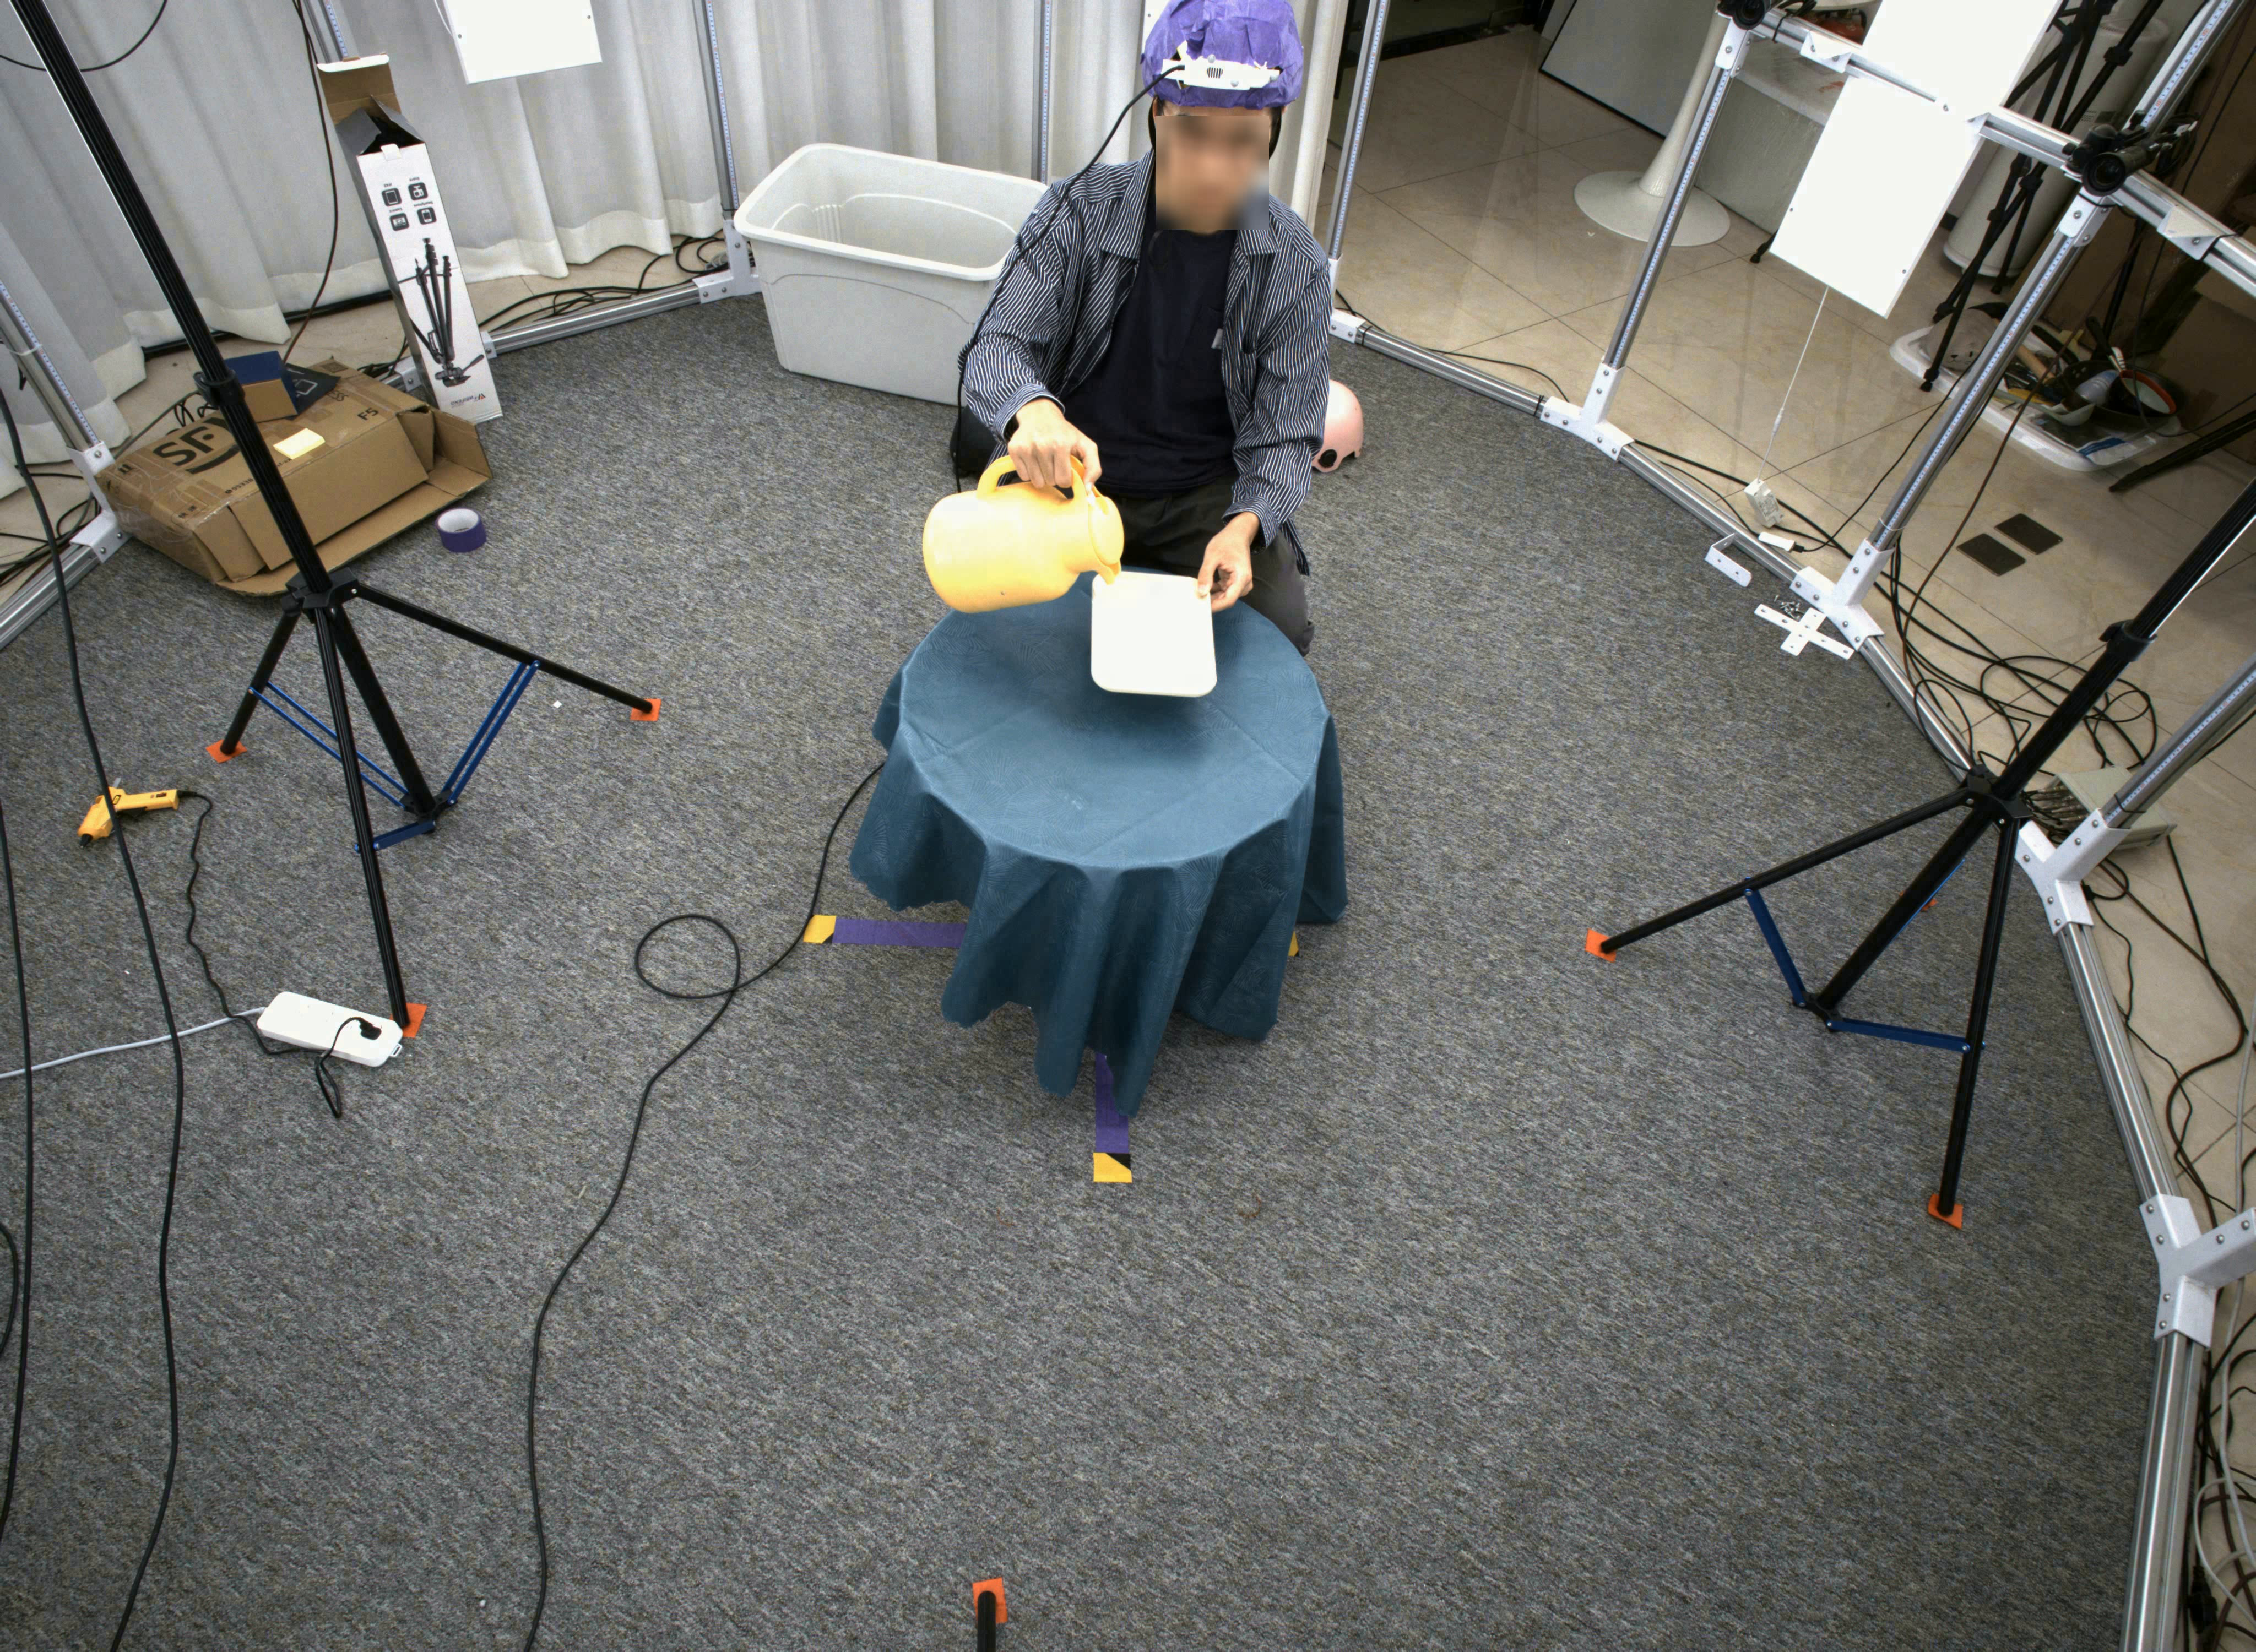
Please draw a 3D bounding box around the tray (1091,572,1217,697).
[{"bbox_3d":[0.033,-0.268,1.787,0.171,0.017,0.246,4,49,-6],"label":"tray"}]

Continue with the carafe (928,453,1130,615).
[{"bbox_3d":[-0.133,-0.393,1.728,0.261,0.198,0.167,-4,36,23],"label":"carafe"}]
